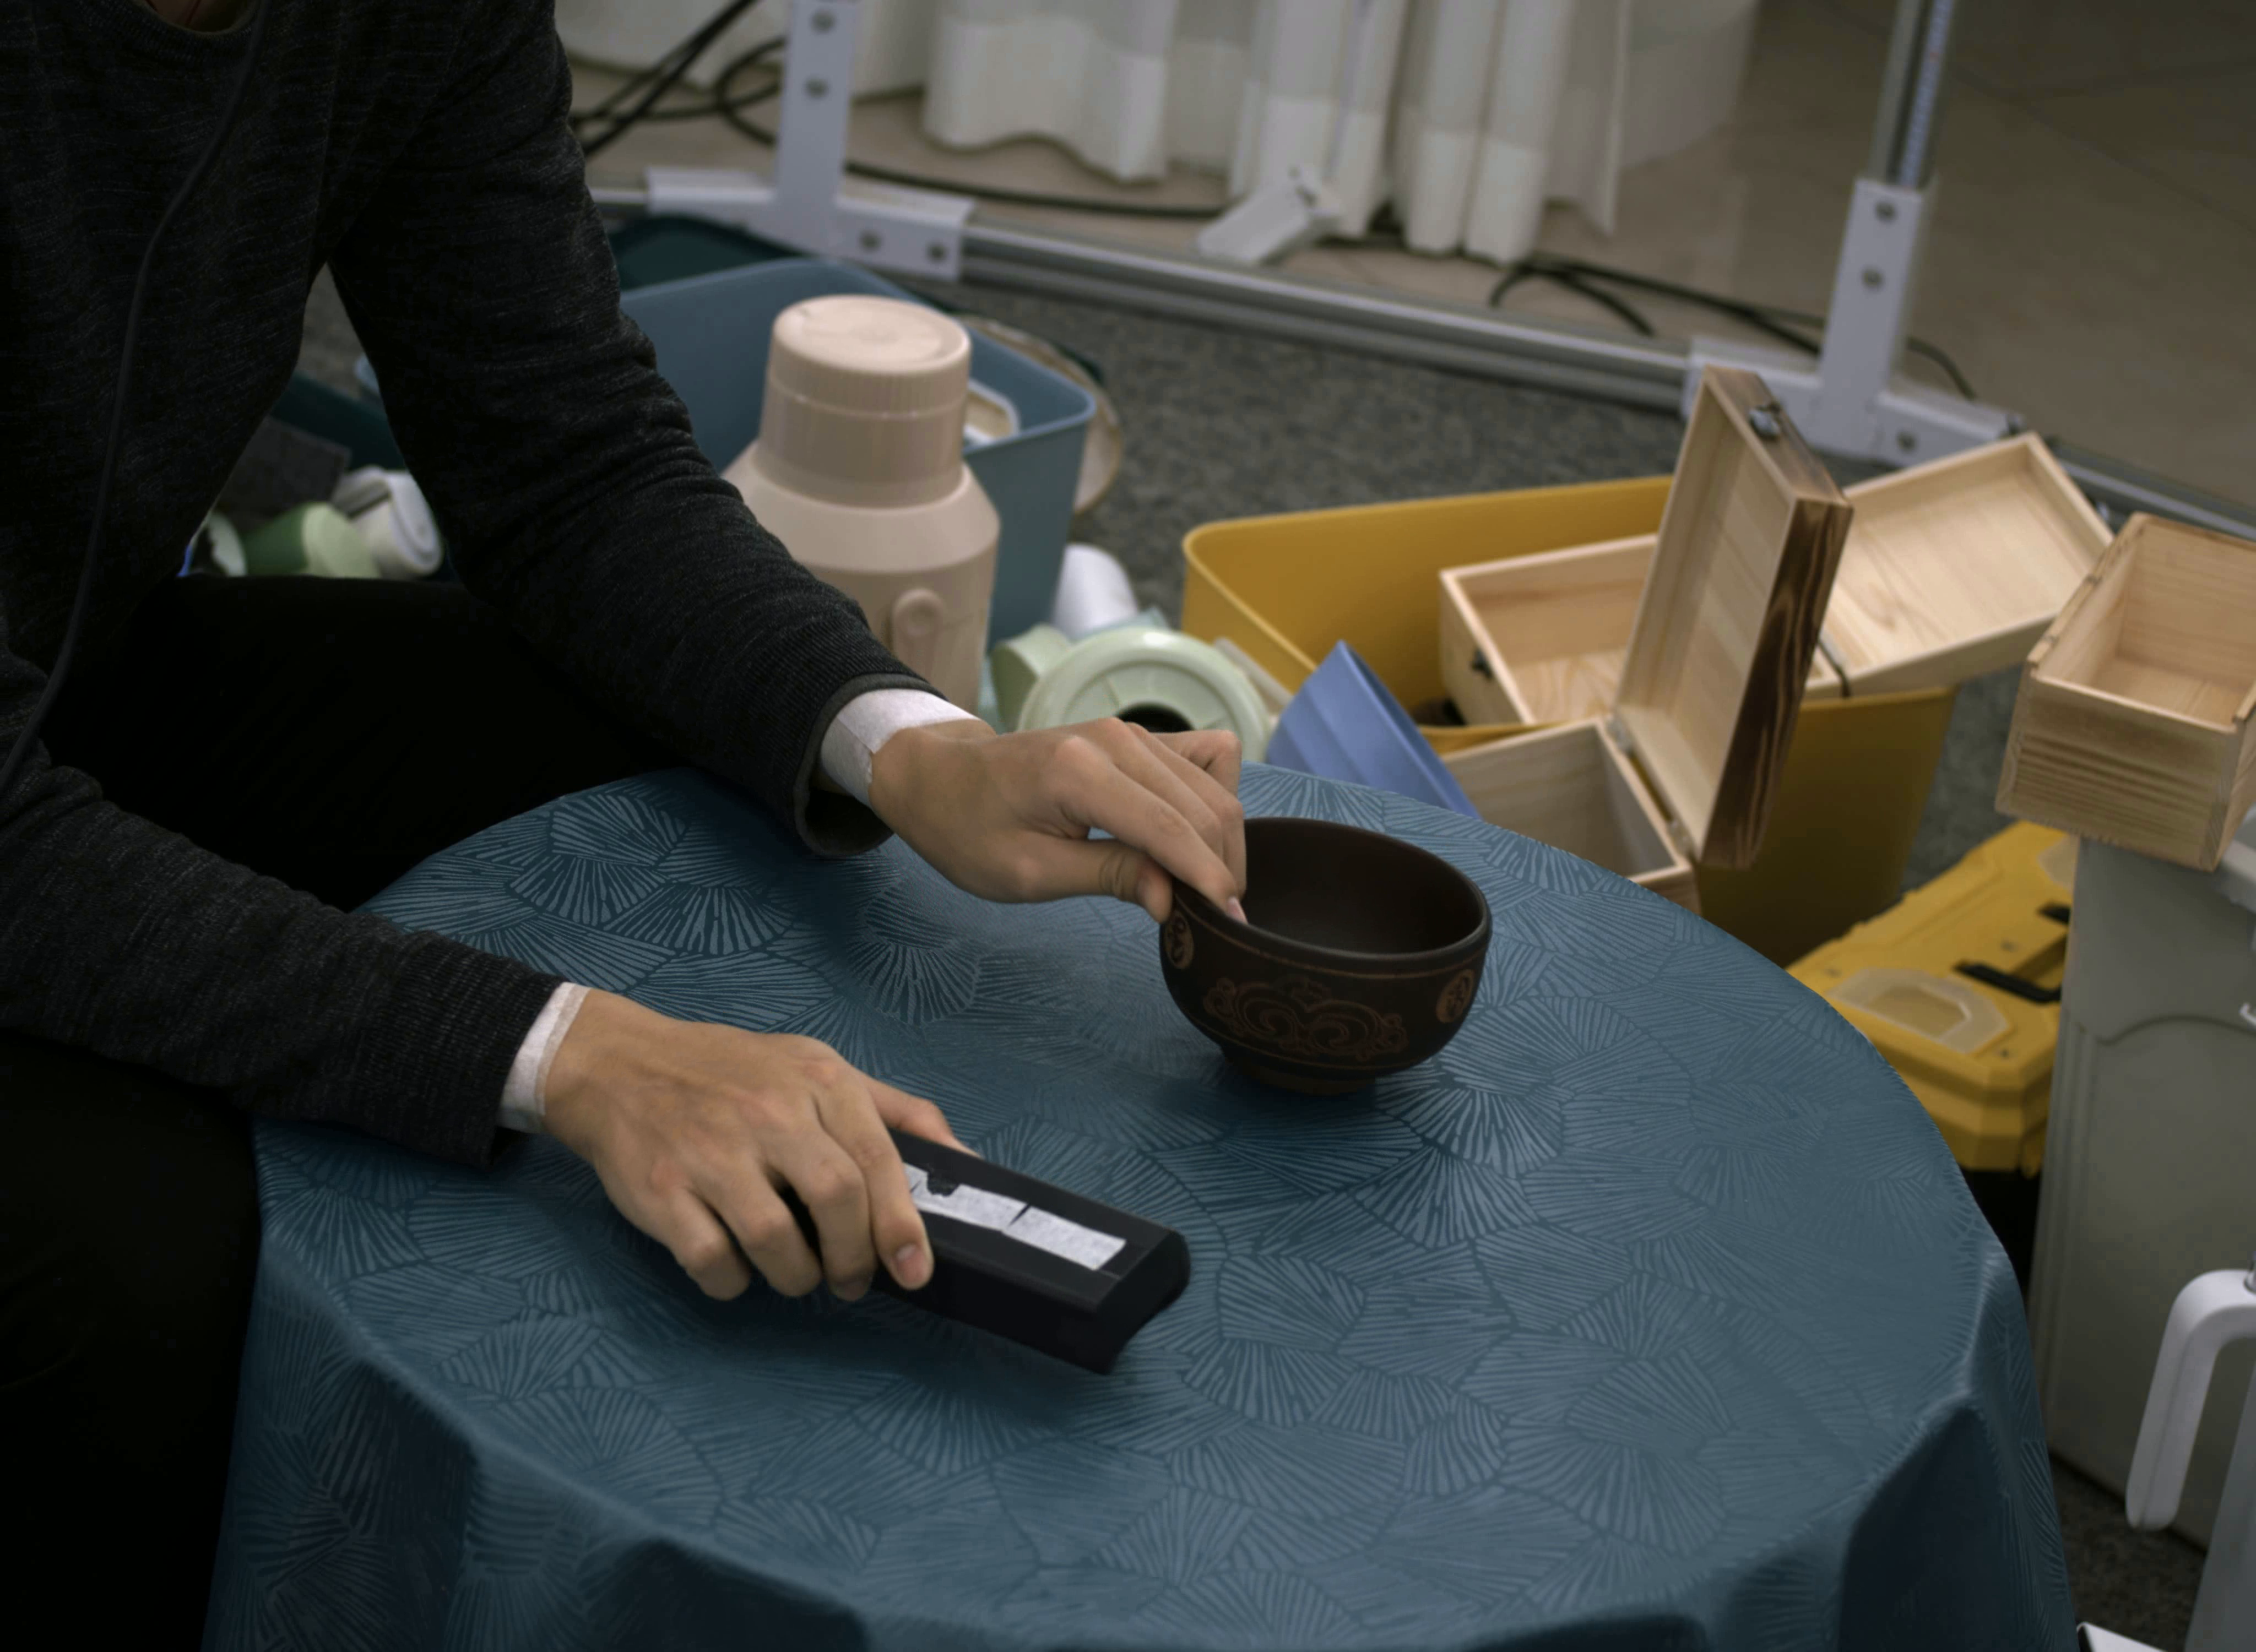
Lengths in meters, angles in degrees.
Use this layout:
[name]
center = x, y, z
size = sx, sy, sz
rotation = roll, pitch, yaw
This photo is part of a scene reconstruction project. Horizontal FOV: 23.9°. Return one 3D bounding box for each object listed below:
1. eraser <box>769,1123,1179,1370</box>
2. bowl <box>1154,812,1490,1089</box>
[eraser]
center = -0.049, 0.133, 1.698
size = 0.126, 0.030, 0.053
rotation = 17, 34, 26
[bowl]
center = 0.065, 0.049, 1.877
size = 0.117, 0.070, 0.118
rotation = 8, 22, -4
